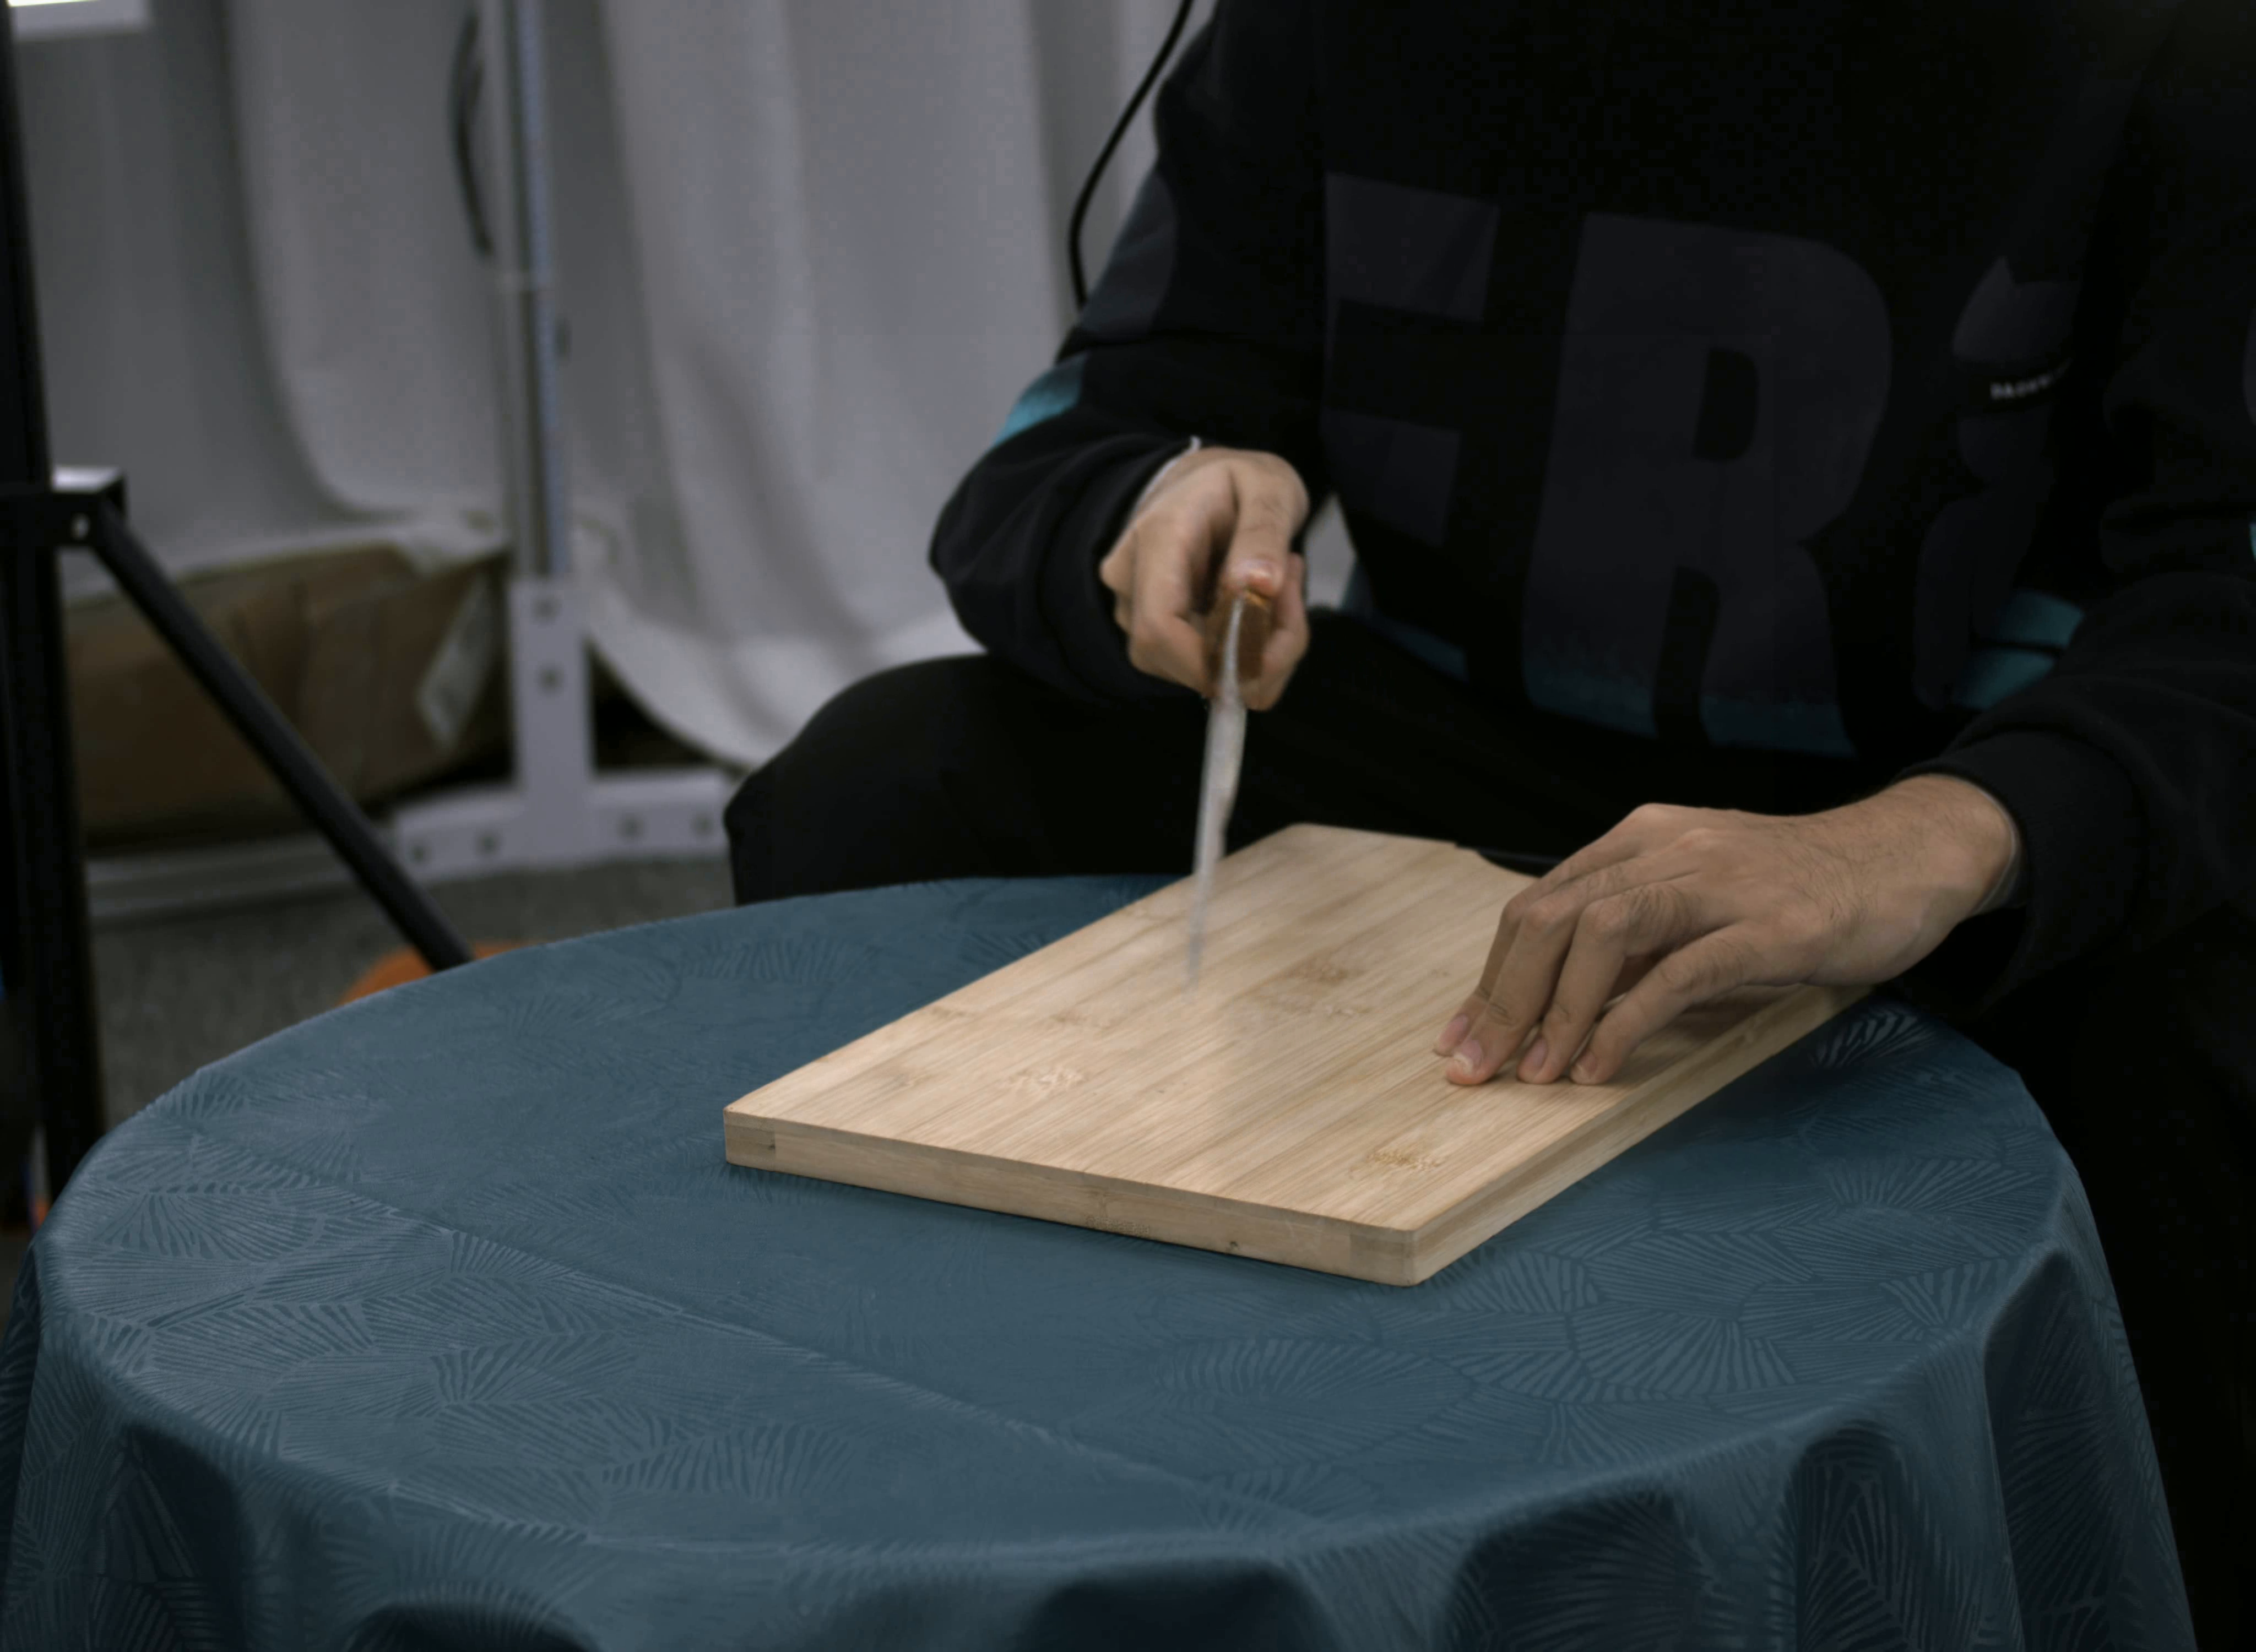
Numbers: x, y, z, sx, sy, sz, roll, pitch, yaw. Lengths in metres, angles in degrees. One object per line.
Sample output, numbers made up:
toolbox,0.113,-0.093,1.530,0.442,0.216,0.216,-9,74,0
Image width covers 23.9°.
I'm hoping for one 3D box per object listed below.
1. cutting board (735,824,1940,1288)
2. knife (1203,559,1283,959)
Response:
cutting board,0.073,0.064,1.669,0.255,0.023,0.342,7,19,32
knife,0.034,-0.022,1.678,0.021,0.093,0.306,4,12,2
